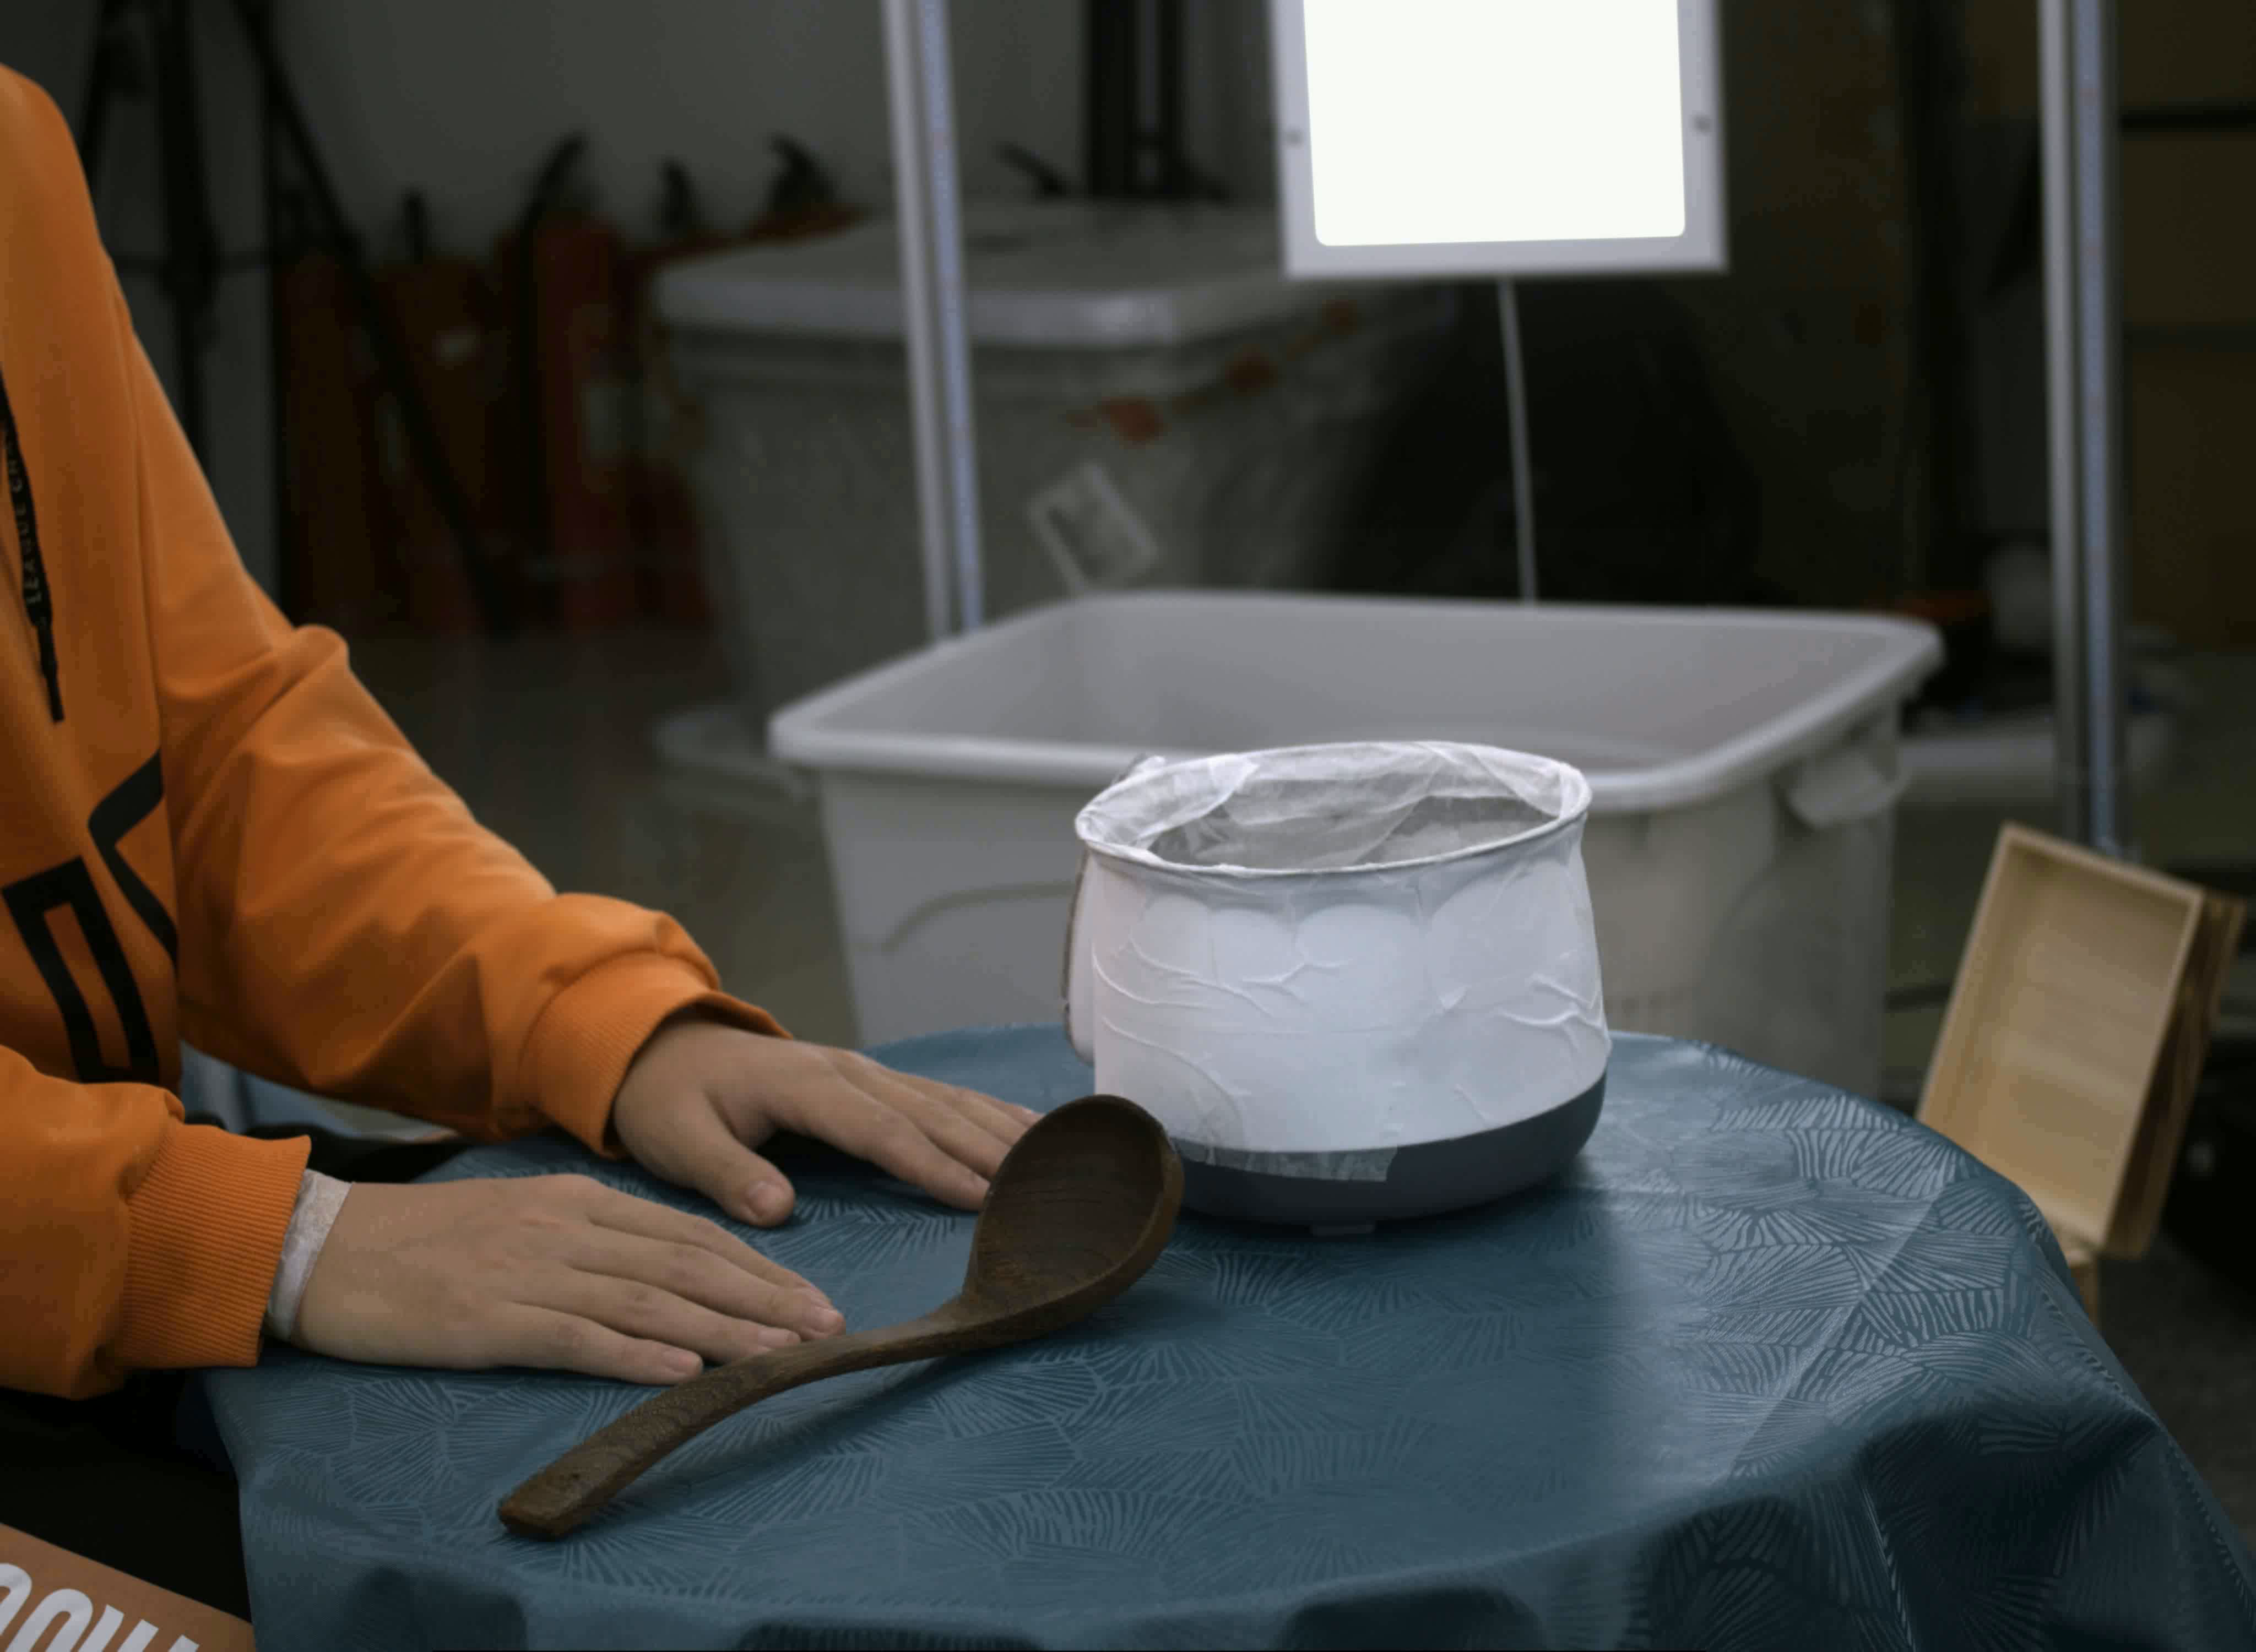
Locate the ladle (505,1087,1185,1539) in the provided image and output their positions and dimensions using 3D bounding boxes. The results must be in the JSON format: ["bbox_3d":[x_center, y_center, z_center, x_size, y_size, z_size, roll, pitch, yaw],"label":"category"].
[{"bbox_3d":[-0.087,0.146,1.705,0.078,0.071,0.267,4,16,45],"label":"ladle"}]

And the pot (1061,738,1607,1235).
[{"bbox_3d":[0.057,0.049,1.901,0.174,0.137,0.238,-15,17,-37],"label":"pot"}]
